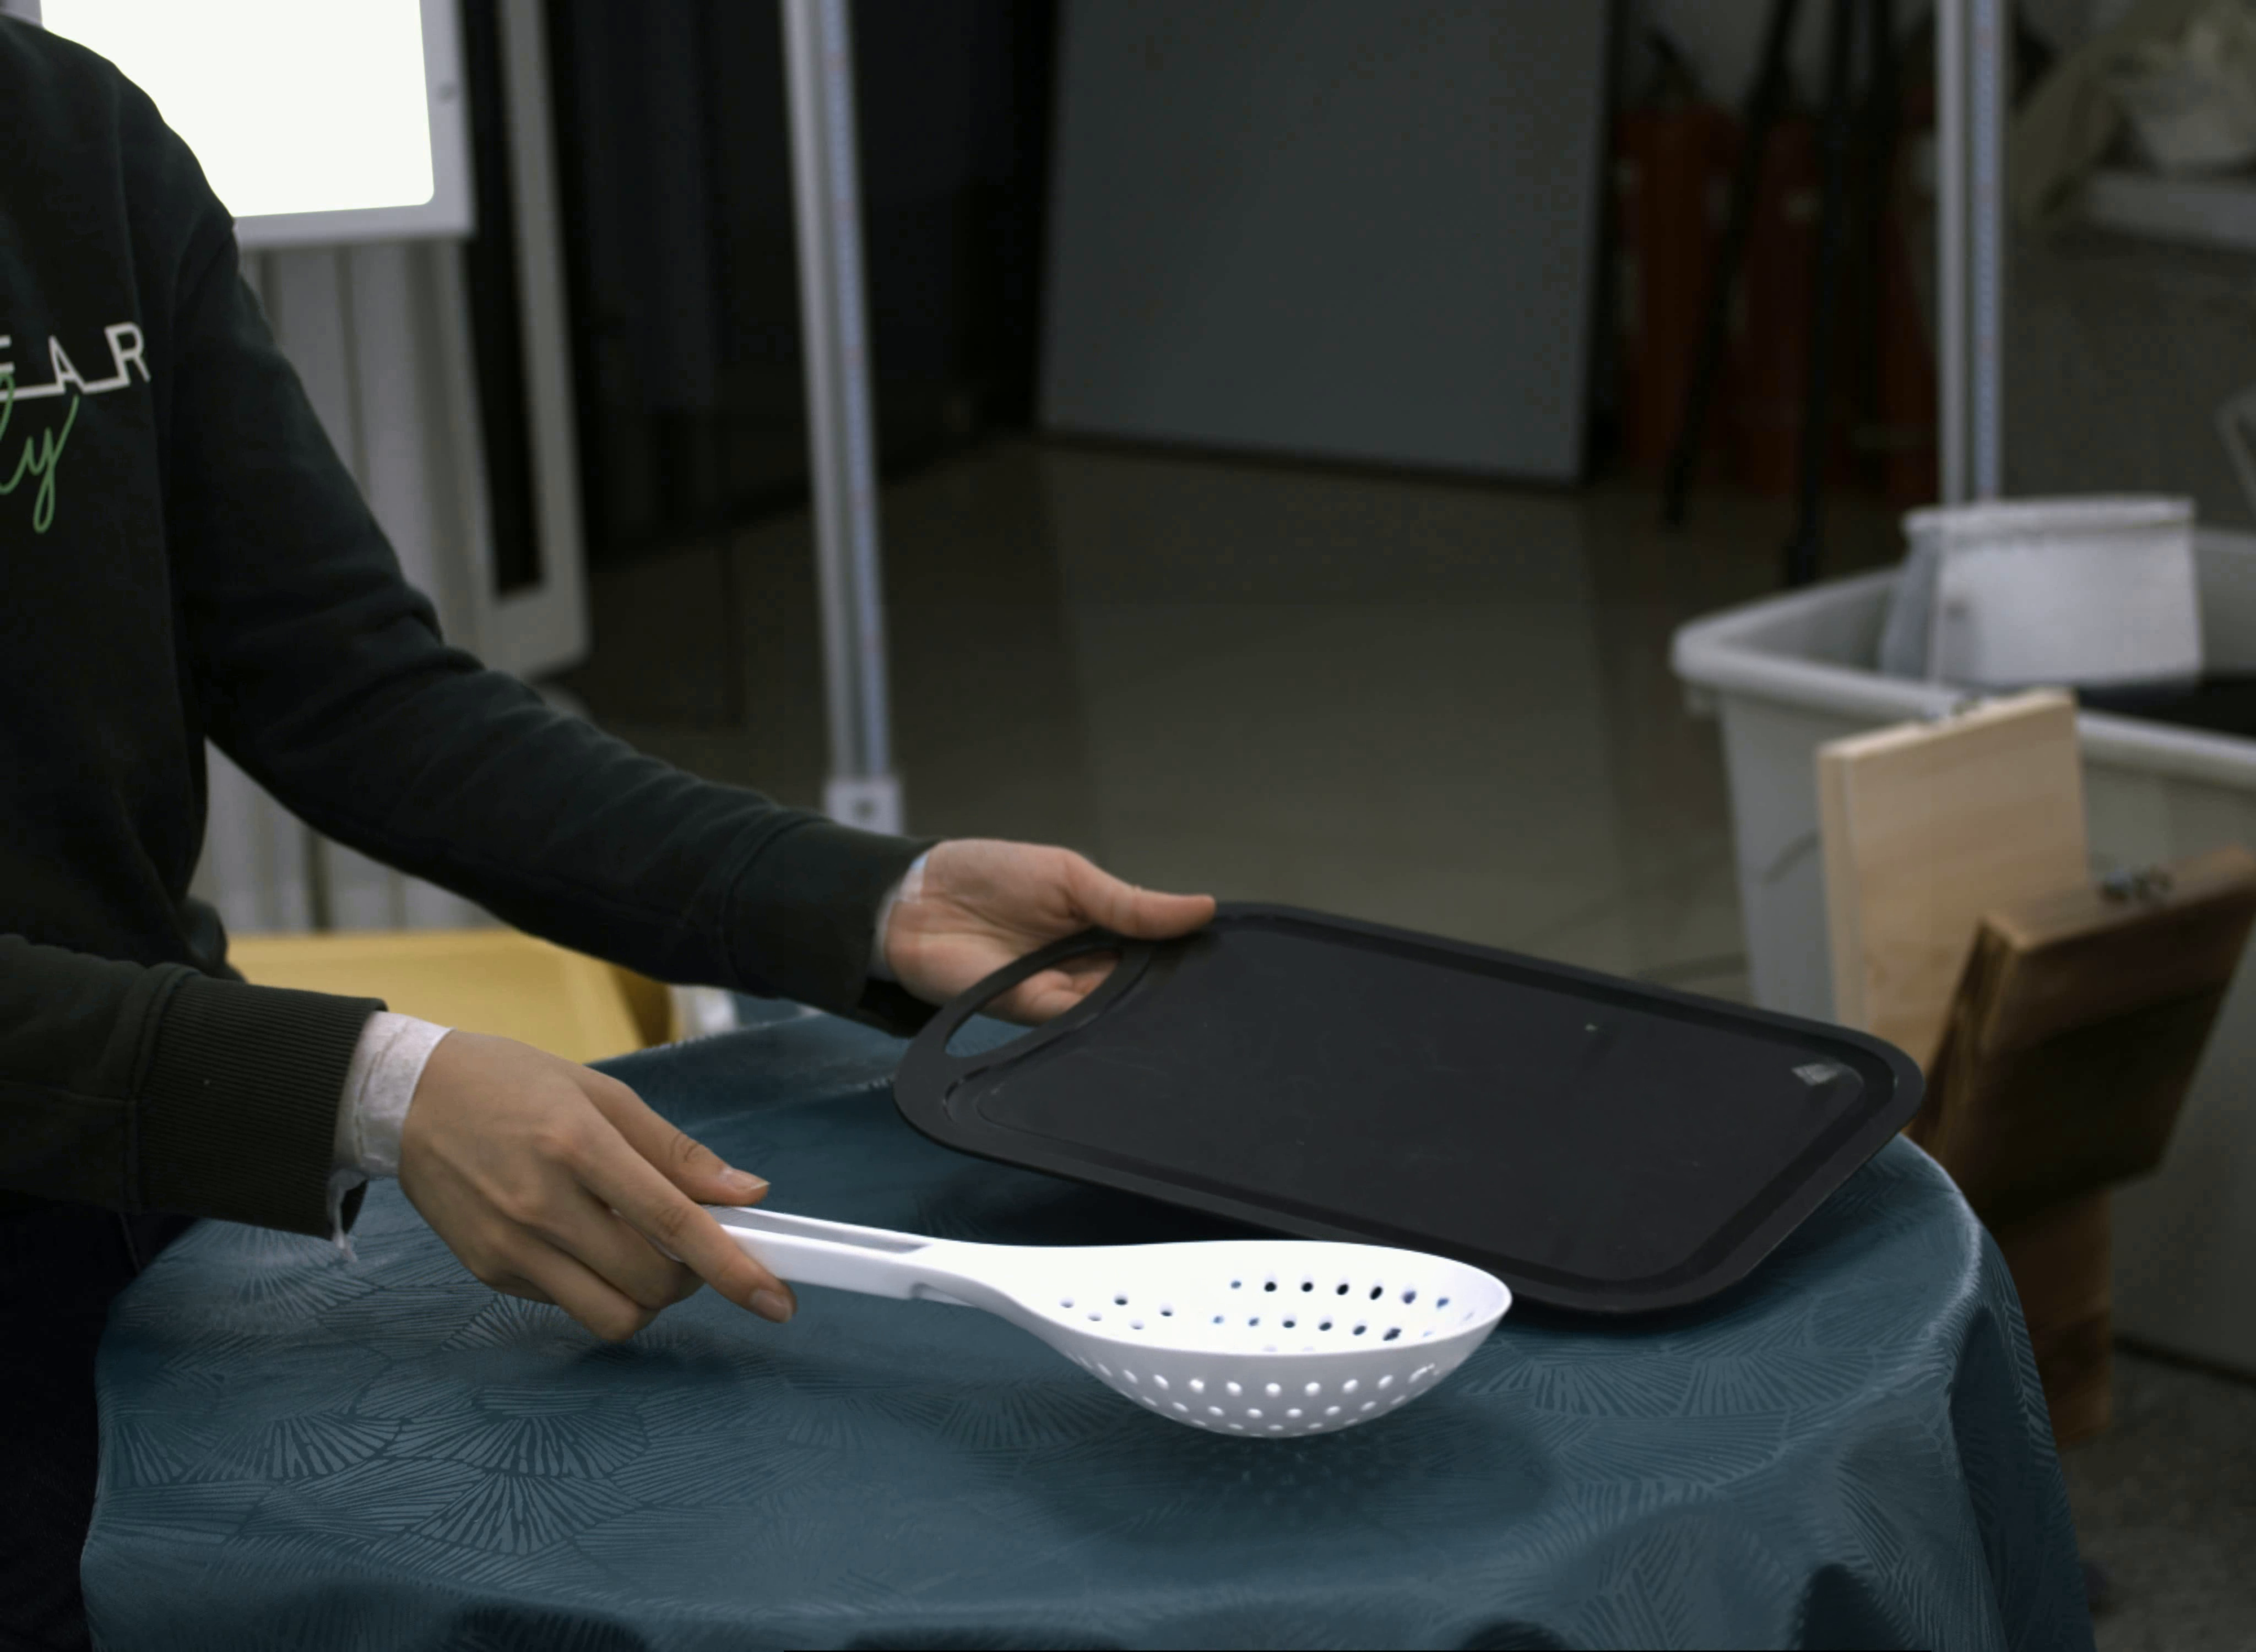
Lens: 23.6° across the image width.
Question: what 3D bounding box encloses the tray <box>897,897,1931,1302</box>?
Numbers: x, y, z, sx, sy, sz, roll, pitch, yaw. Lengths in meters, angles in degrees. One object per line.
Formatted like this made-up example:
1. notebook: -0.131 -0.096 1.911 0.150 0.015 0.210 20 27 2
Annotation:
1. tray: 0.084 0.082 1.747 0.327 0.010 0.208 12 28 32

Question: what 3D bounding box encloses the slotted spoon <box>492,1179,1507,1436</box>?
1. slotted spoon: -0.048 0.131 1.589 0.352 0.046 0.133 10 12 34
